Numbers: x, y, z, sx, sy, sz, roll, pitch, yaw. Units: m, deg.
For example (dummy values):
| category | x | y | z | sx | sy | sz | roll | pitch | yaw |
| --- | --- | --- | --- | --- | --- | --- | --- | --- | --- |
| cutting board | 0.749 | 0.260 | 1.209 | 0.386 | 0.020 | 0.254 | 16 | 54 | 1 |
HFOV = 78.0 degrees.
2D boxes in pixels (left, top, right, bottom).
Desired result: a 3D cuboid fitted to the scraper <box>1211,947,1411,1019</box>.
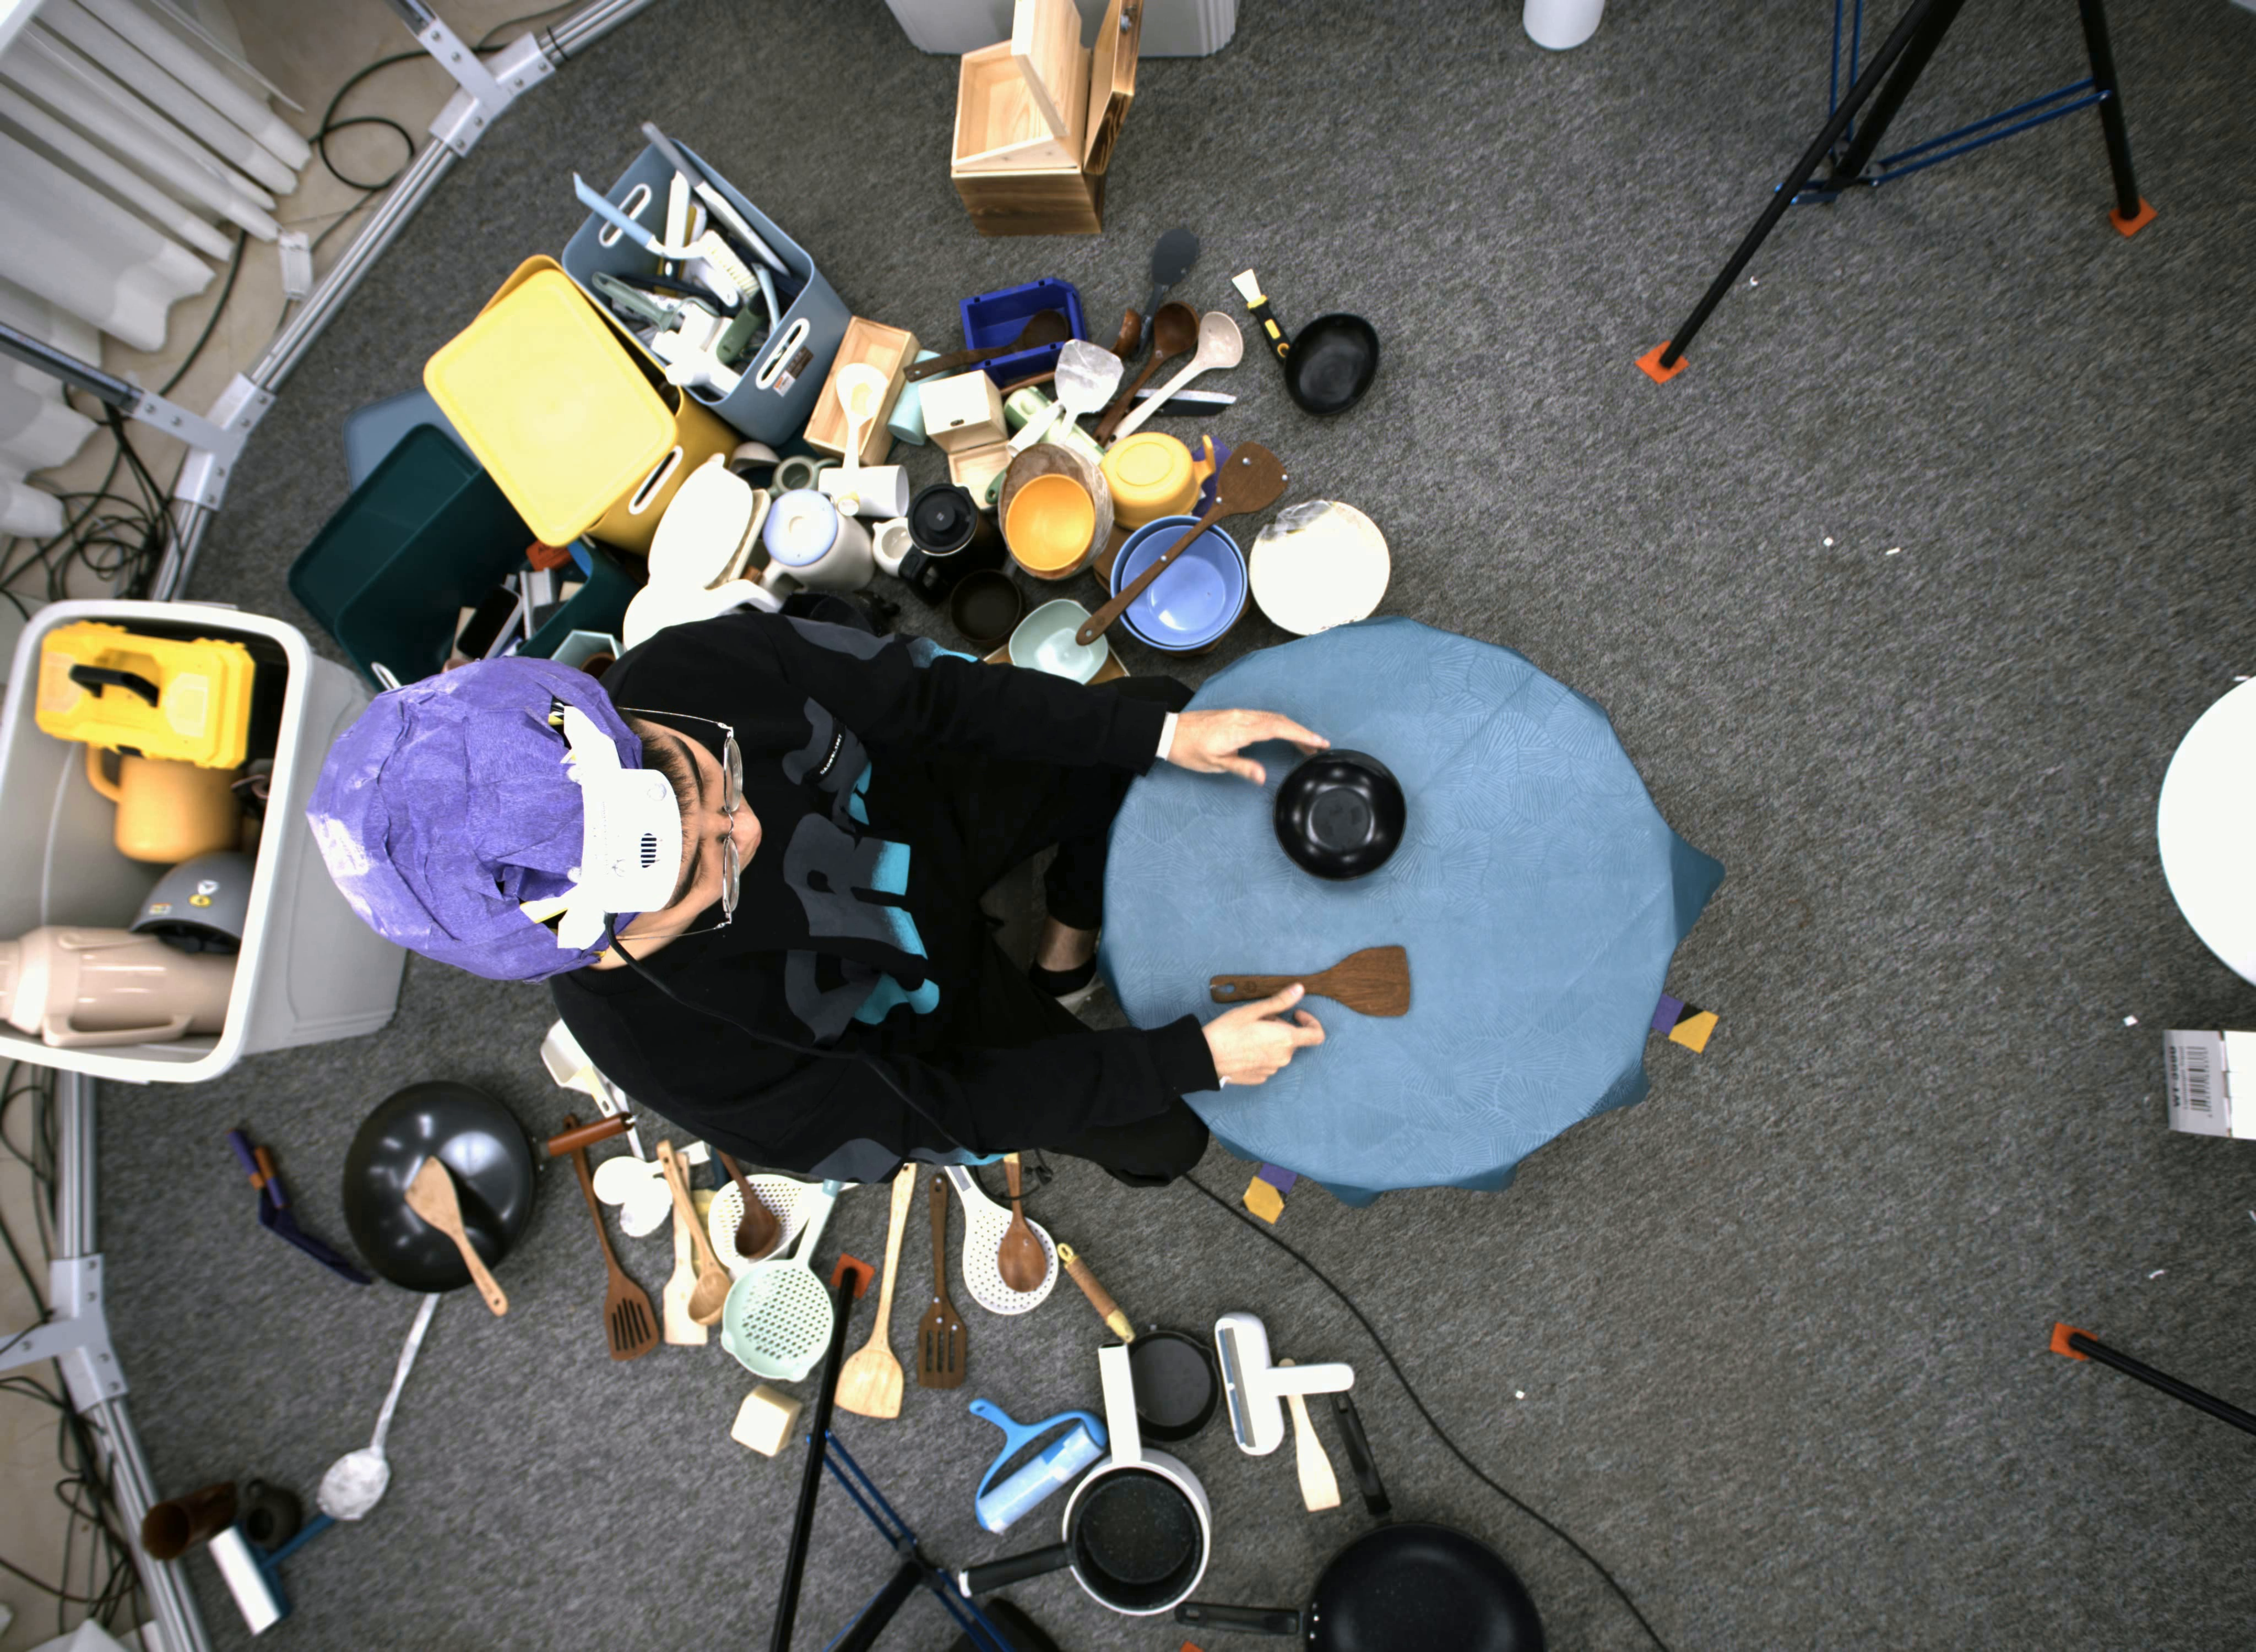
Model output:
| category | x | y | z | sx | sy | sz | roll | pitch | yaw |
| --- | --- | --- | --- | --- | --- | --- | --- | --- | --- |
| scraper | 0.193 | 0.169 | 1.468 | 0.212 | 0.011 | 0.075 | -4 | 84 | 10 |

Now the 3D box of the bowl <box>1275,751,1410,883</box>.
| category | x | y | z | sx | sy | sz | roll | pitch | yaw |
| --- | --- | --- | --- | --- | --- | --- | --- | --- | --- |
| bowl | 0.226 | -0.009 | 1.454 | 0.140 | 0.049 | 0.139 | 0 | 89 | 11 |
